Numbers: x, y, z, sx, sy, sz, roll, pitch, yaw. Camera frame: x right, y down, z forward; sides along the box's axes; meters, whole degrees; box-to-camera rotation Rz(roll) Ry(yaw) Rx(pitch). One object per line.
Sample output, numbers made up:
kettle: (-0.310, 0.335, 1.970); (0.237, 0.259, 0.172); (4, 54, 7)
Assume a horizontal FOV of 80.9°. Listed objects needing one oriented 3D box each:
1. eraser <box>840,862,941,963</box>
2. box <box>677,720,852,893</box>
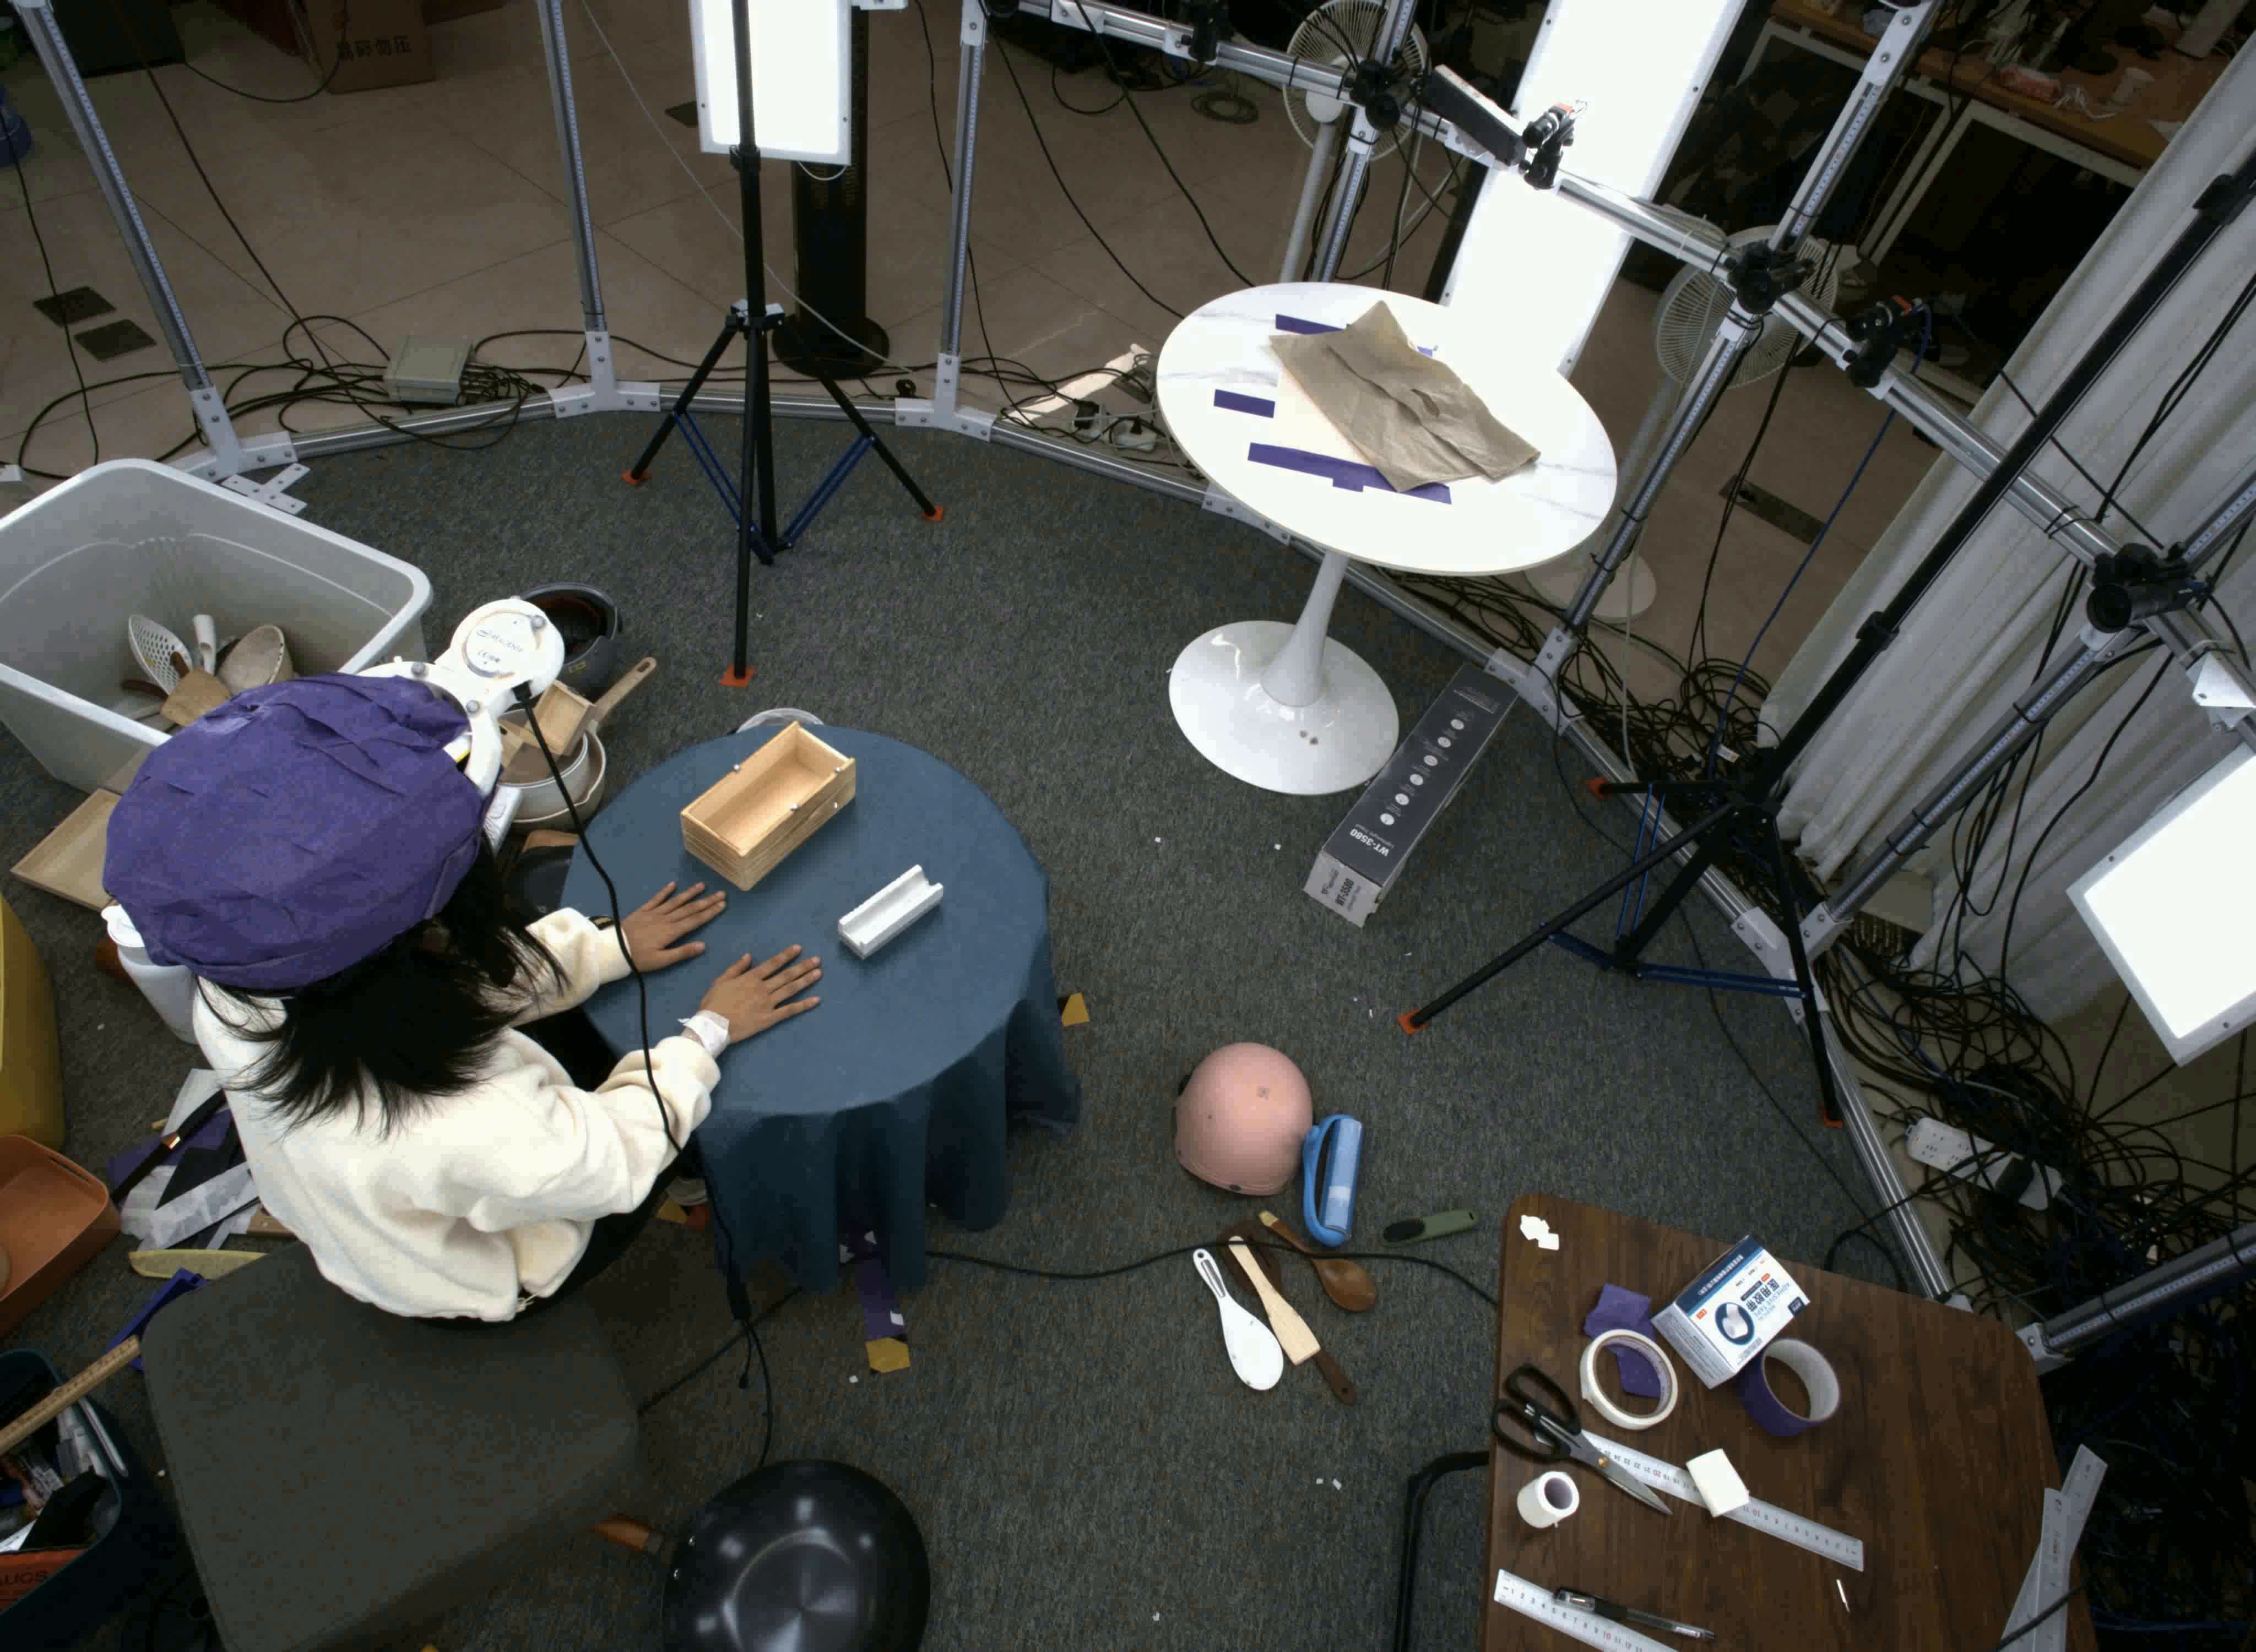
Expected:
eraser: (-0.299, 0.107, 1.641); (0.049, 0.047, 0.134); (38, 52, 14)
box: (-0.467, -0.029, 1.678); (0.105, 0.082, 0.211); (32, 52, 12)
